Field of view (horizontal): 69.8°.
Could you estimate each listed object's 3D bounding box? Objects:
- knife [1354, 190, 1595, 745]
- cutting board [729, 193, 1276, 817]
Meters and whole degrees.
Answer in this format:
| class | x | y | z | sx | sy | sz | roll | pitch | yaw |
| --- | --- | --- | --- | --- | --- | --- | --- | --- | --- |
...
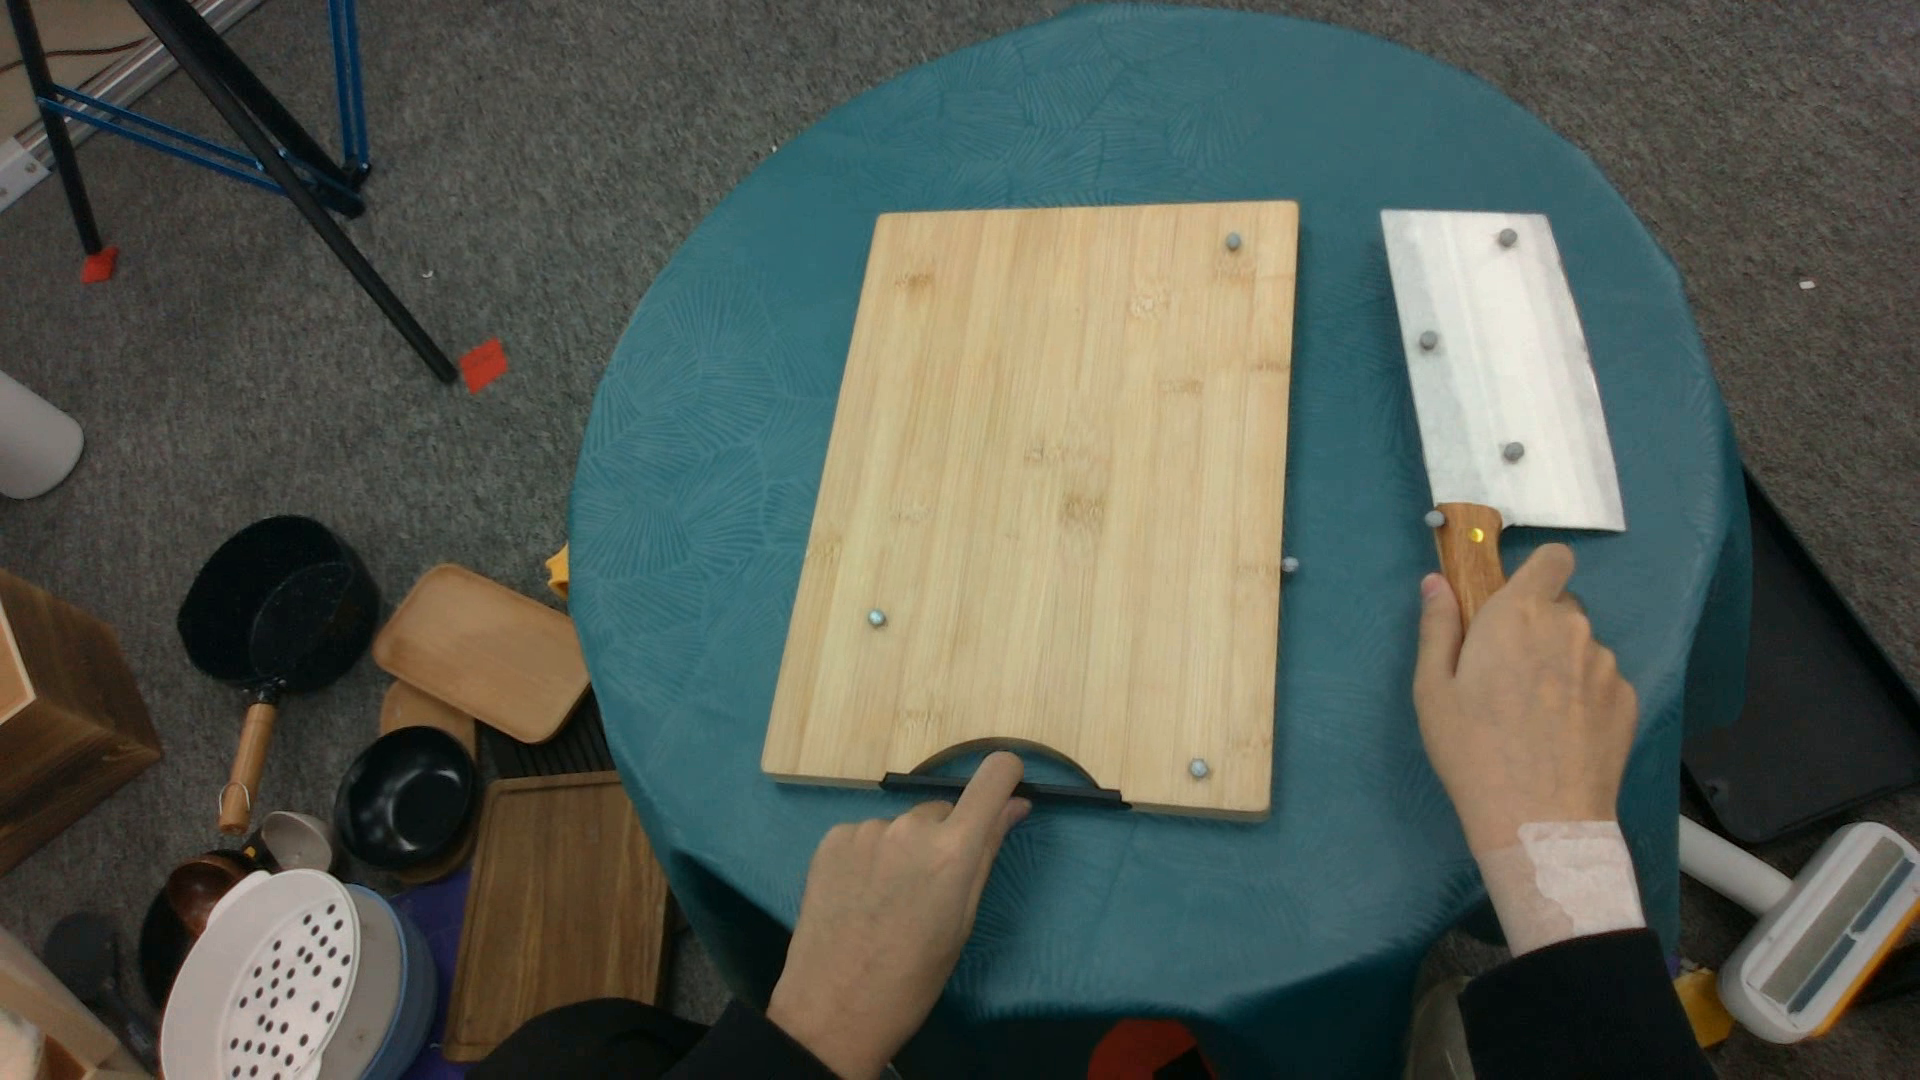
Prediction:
| class | x | y | z | sx | sy | sz | roll | pitch | yaw |
| --- | --- | --- | --- | --- | --- | --- | --- | --- | --- |
| knife | 0.252 | -0.049 | 0.657 | 0.093 | 0.021 | 0.307 | 2 | 62 | -6 |
| cutting board | 0.032 | -0.037 | 0.707 | 0.250 | 0.023 | 0.350 | 1 | 64 | 13 |
